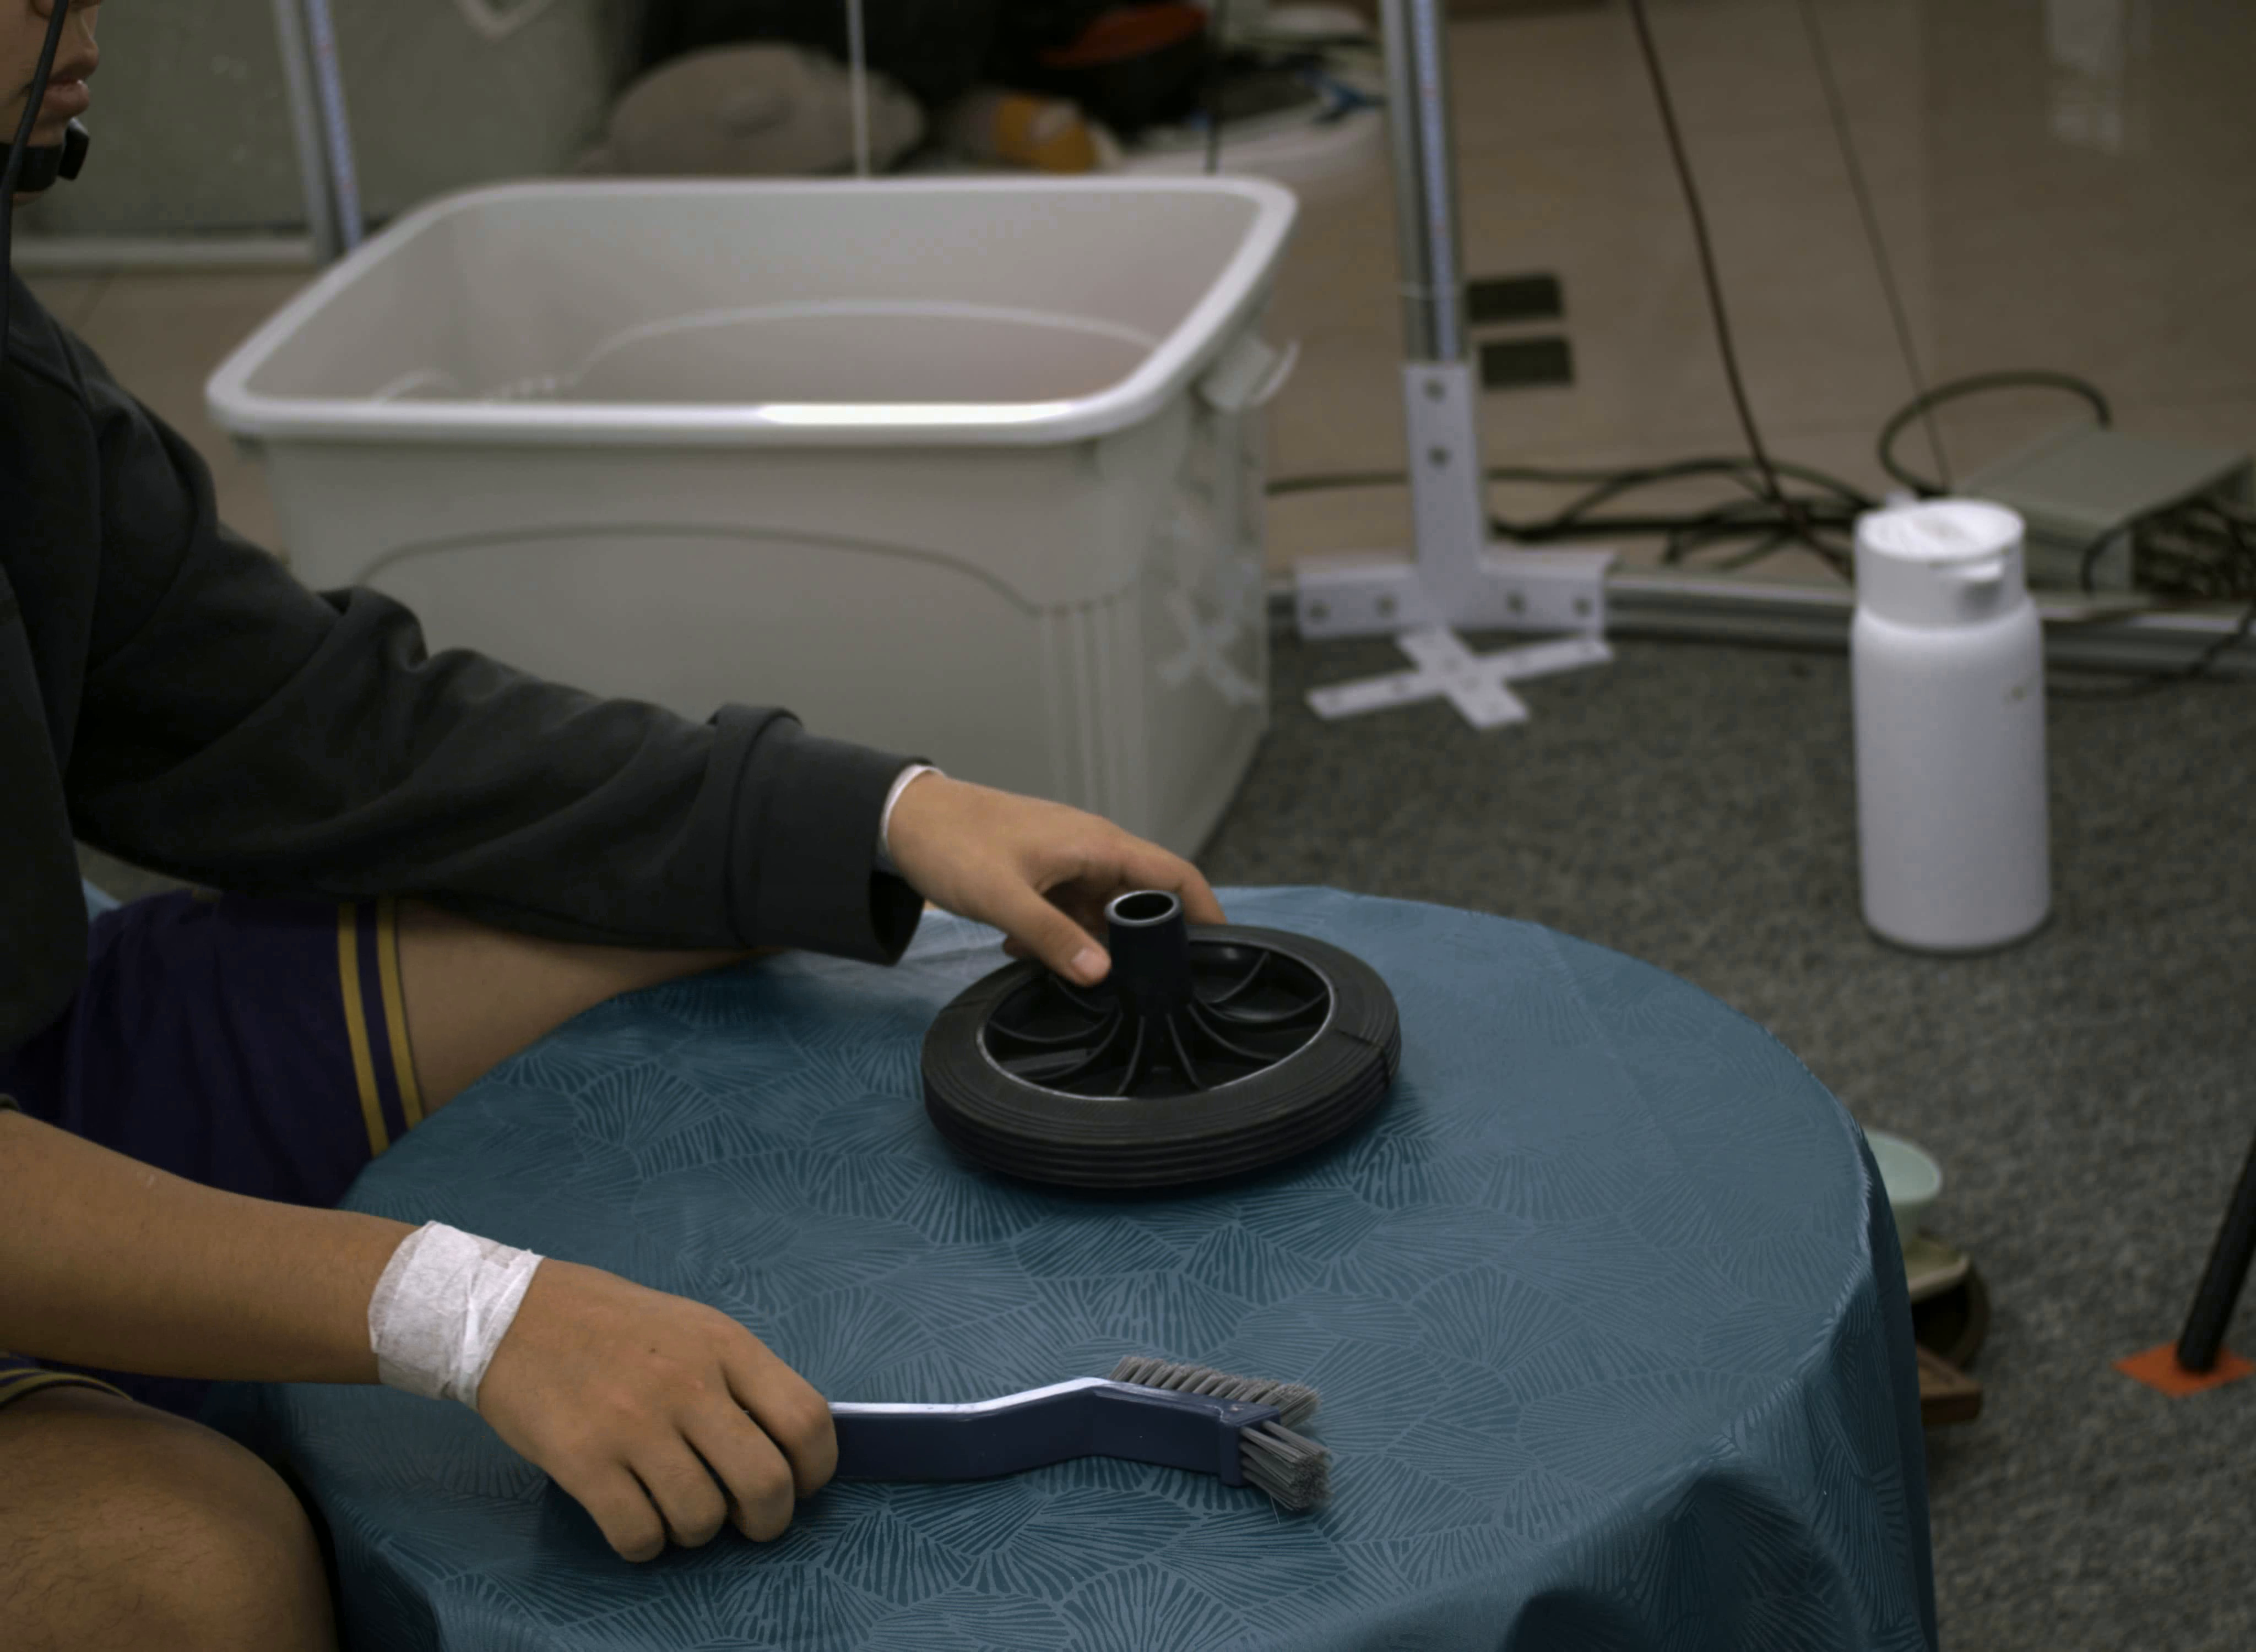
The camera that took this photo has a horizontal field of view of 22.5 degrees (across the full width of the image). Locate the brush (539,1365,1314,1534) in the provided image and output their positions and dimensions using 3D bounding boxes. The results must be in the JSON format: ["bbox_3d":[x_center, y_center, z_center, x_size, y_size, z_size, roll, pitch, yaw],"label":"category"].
[{"bbox_3d":[-0.072,0.214,1.965,0.273,0.034,0.094,-3,26,4],"label":"brush"}]

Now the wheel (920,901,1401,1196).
[{"bbox_3d":[0.010,0.071,2.198,0.188,0.080,0.185,-21,29,-27],"label":"wheel"}]
